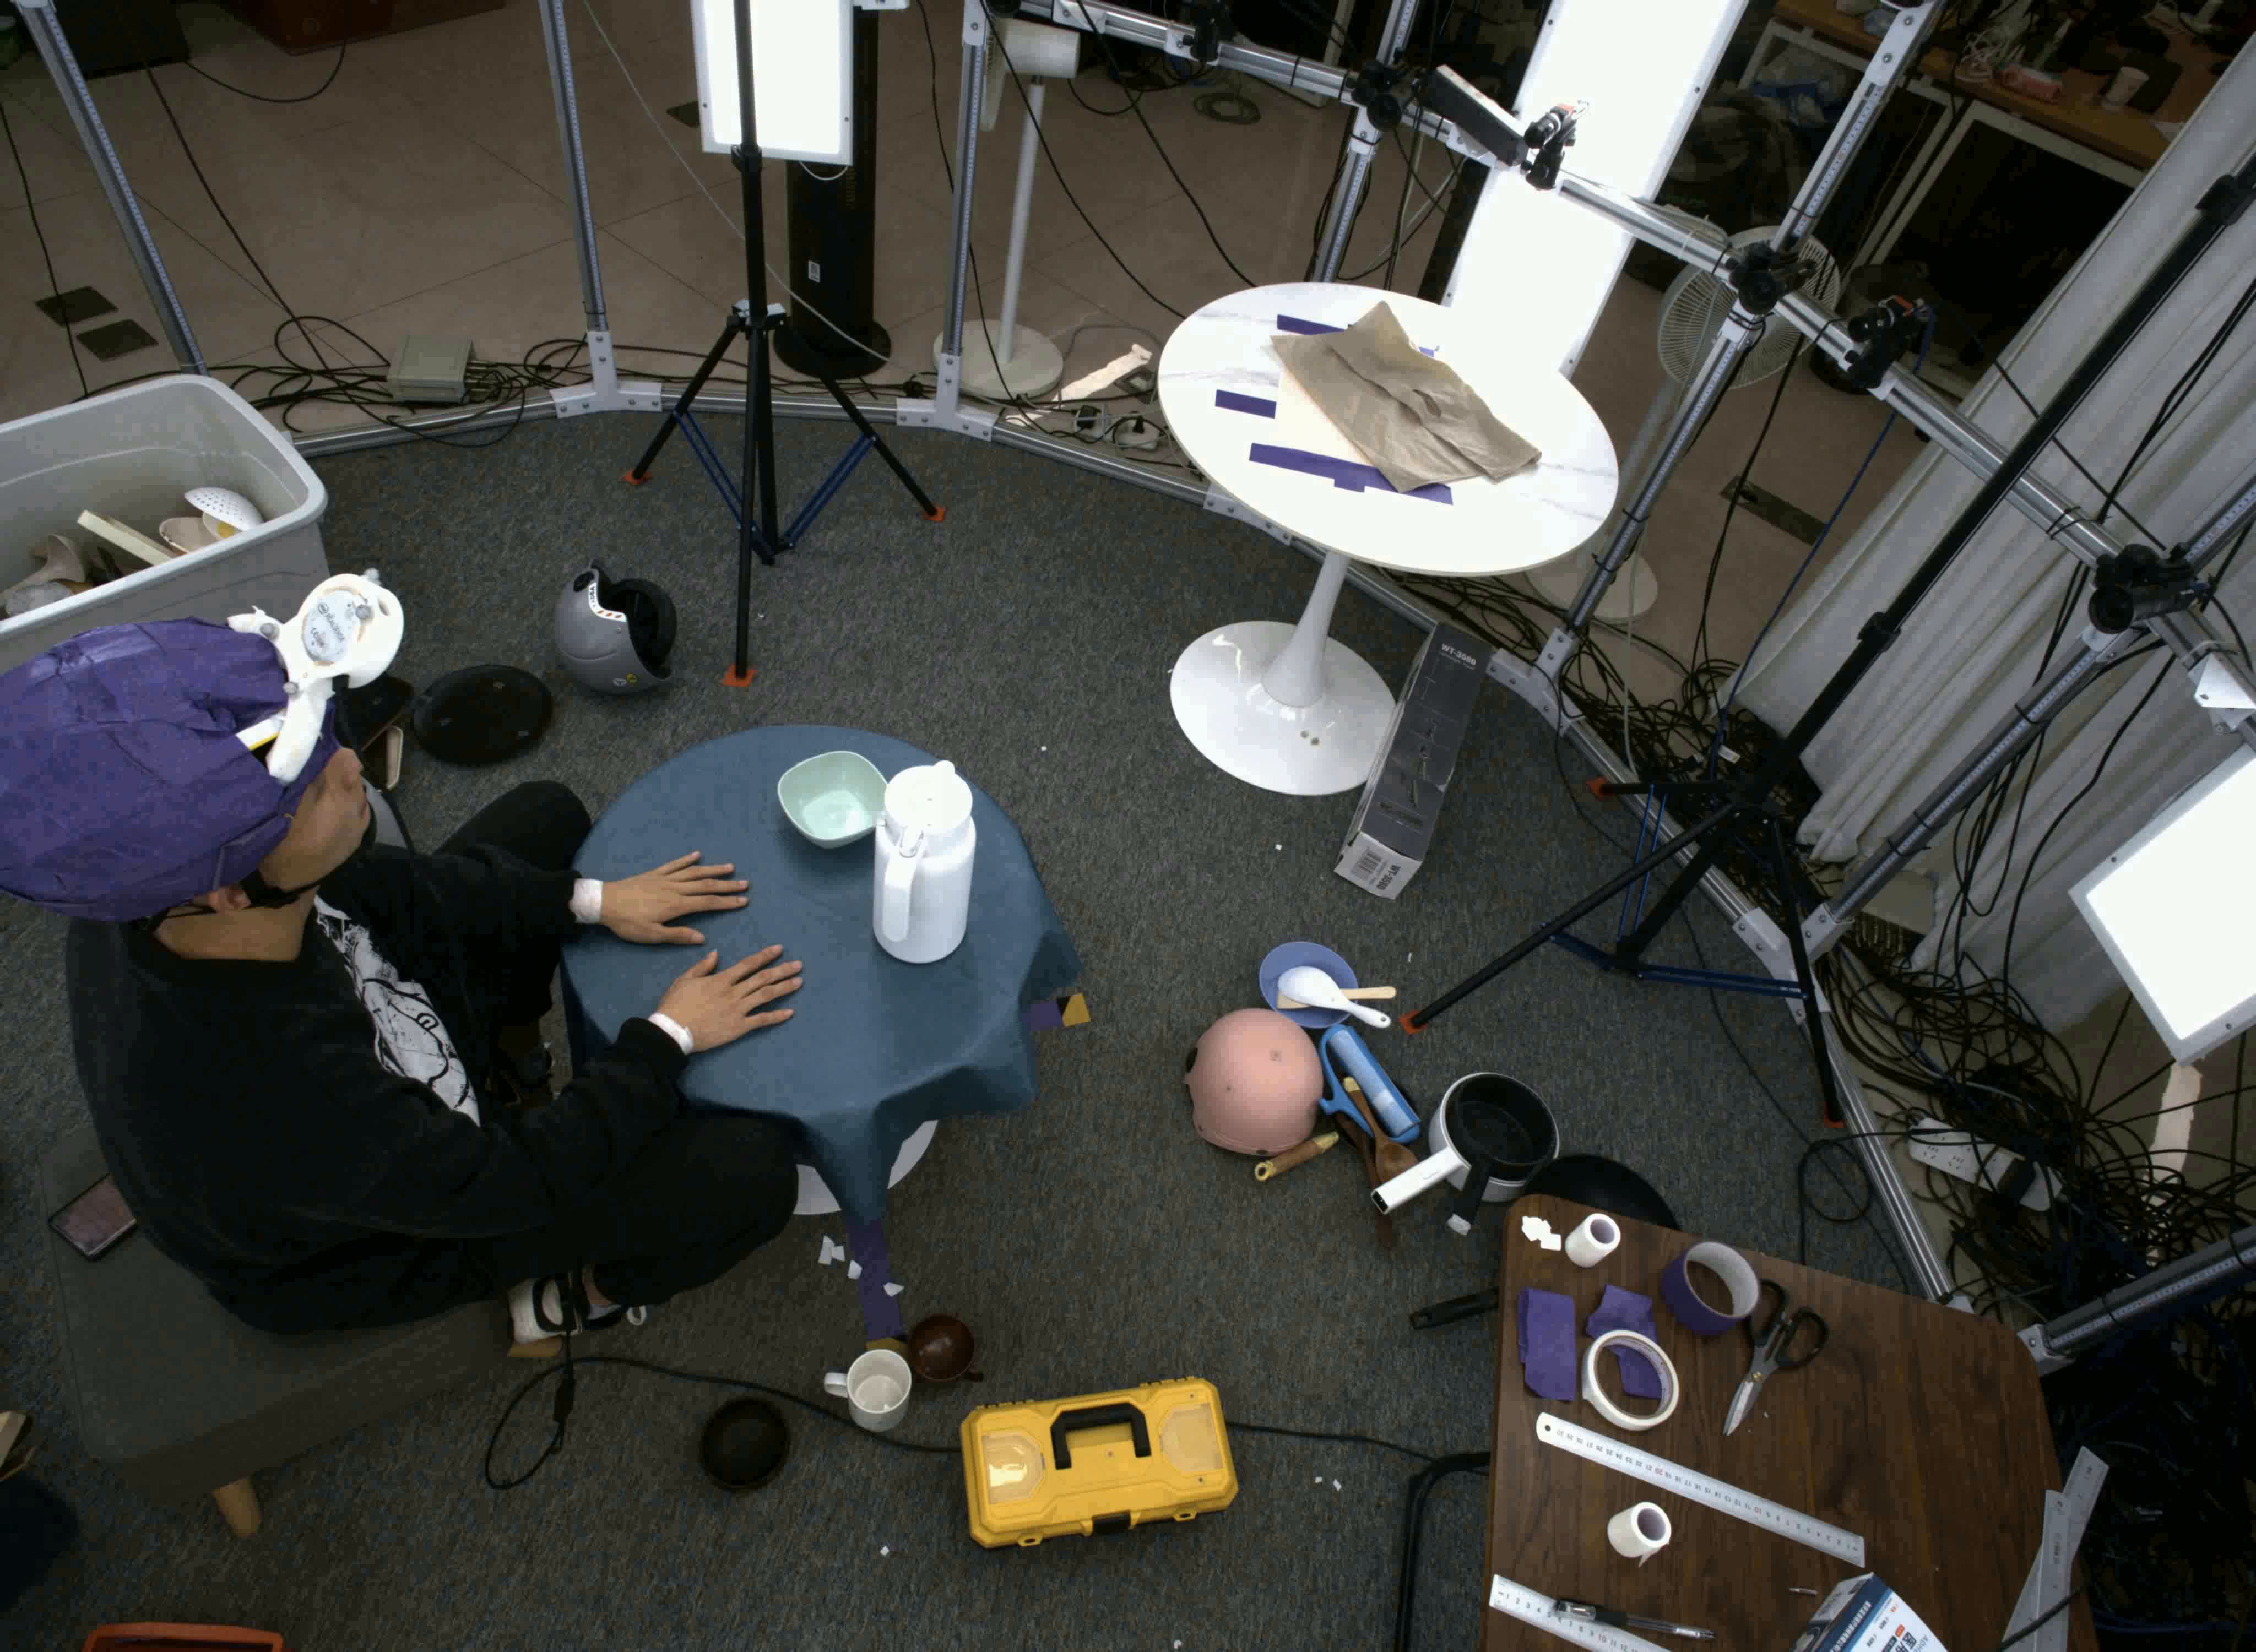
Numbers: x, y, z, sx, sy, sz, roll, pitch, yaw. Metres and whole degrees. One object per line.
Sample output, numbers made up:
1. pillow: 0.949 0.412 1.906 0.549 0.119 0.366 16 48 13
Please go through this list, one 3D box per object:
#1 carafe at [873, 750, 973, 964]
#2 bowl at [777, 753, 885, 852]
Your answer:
1. carafe: -0.250 0.058 1.551 0.123 0.274 0.170 16 51 -1
2. bowl: -0.387 -0.023 1.714 0.151 0.060 0.149 8 52 -8
